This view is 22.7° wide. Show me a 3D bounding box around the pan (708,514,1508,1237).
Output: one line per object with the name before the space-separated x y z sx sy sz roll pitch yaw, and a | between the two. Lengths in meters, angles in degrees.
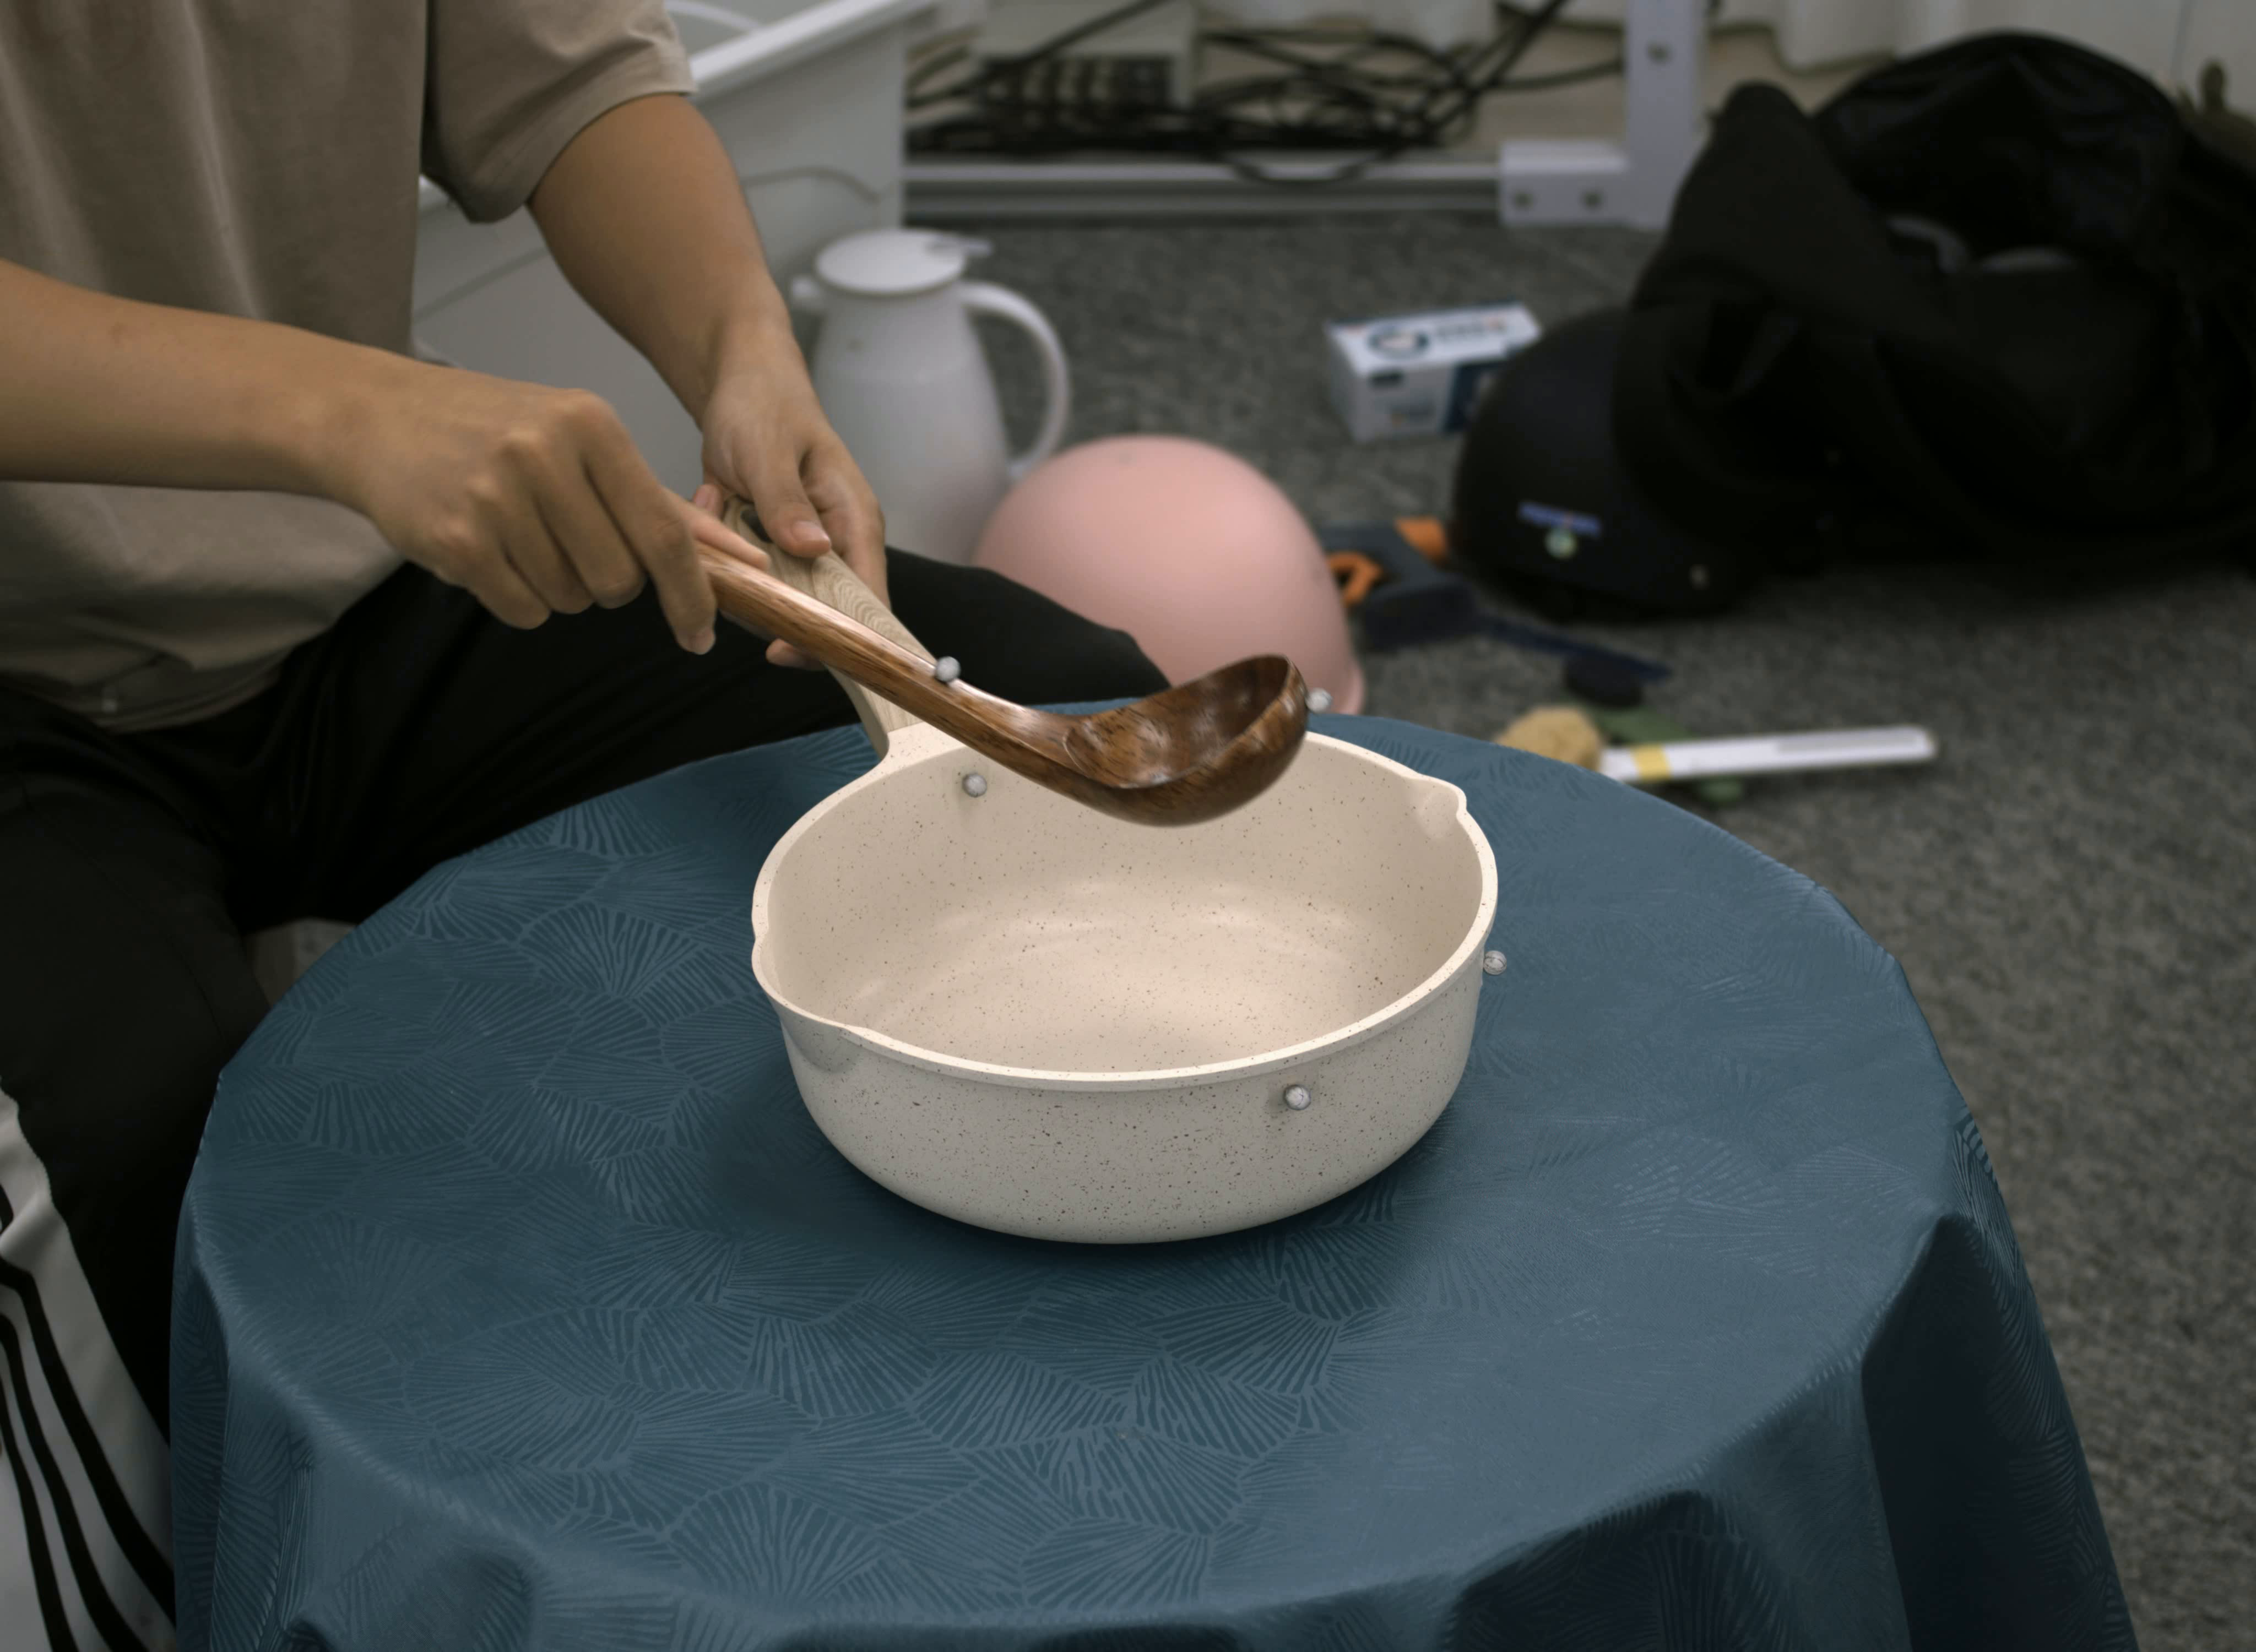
pan | -0.039 0.011 1.973 0.265 0.101 0.437 -17 31 -23

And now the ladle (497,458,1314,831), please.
ladle | -0.070 -0.075 1.836 0.273 0.076 0.083 28 21 -4
